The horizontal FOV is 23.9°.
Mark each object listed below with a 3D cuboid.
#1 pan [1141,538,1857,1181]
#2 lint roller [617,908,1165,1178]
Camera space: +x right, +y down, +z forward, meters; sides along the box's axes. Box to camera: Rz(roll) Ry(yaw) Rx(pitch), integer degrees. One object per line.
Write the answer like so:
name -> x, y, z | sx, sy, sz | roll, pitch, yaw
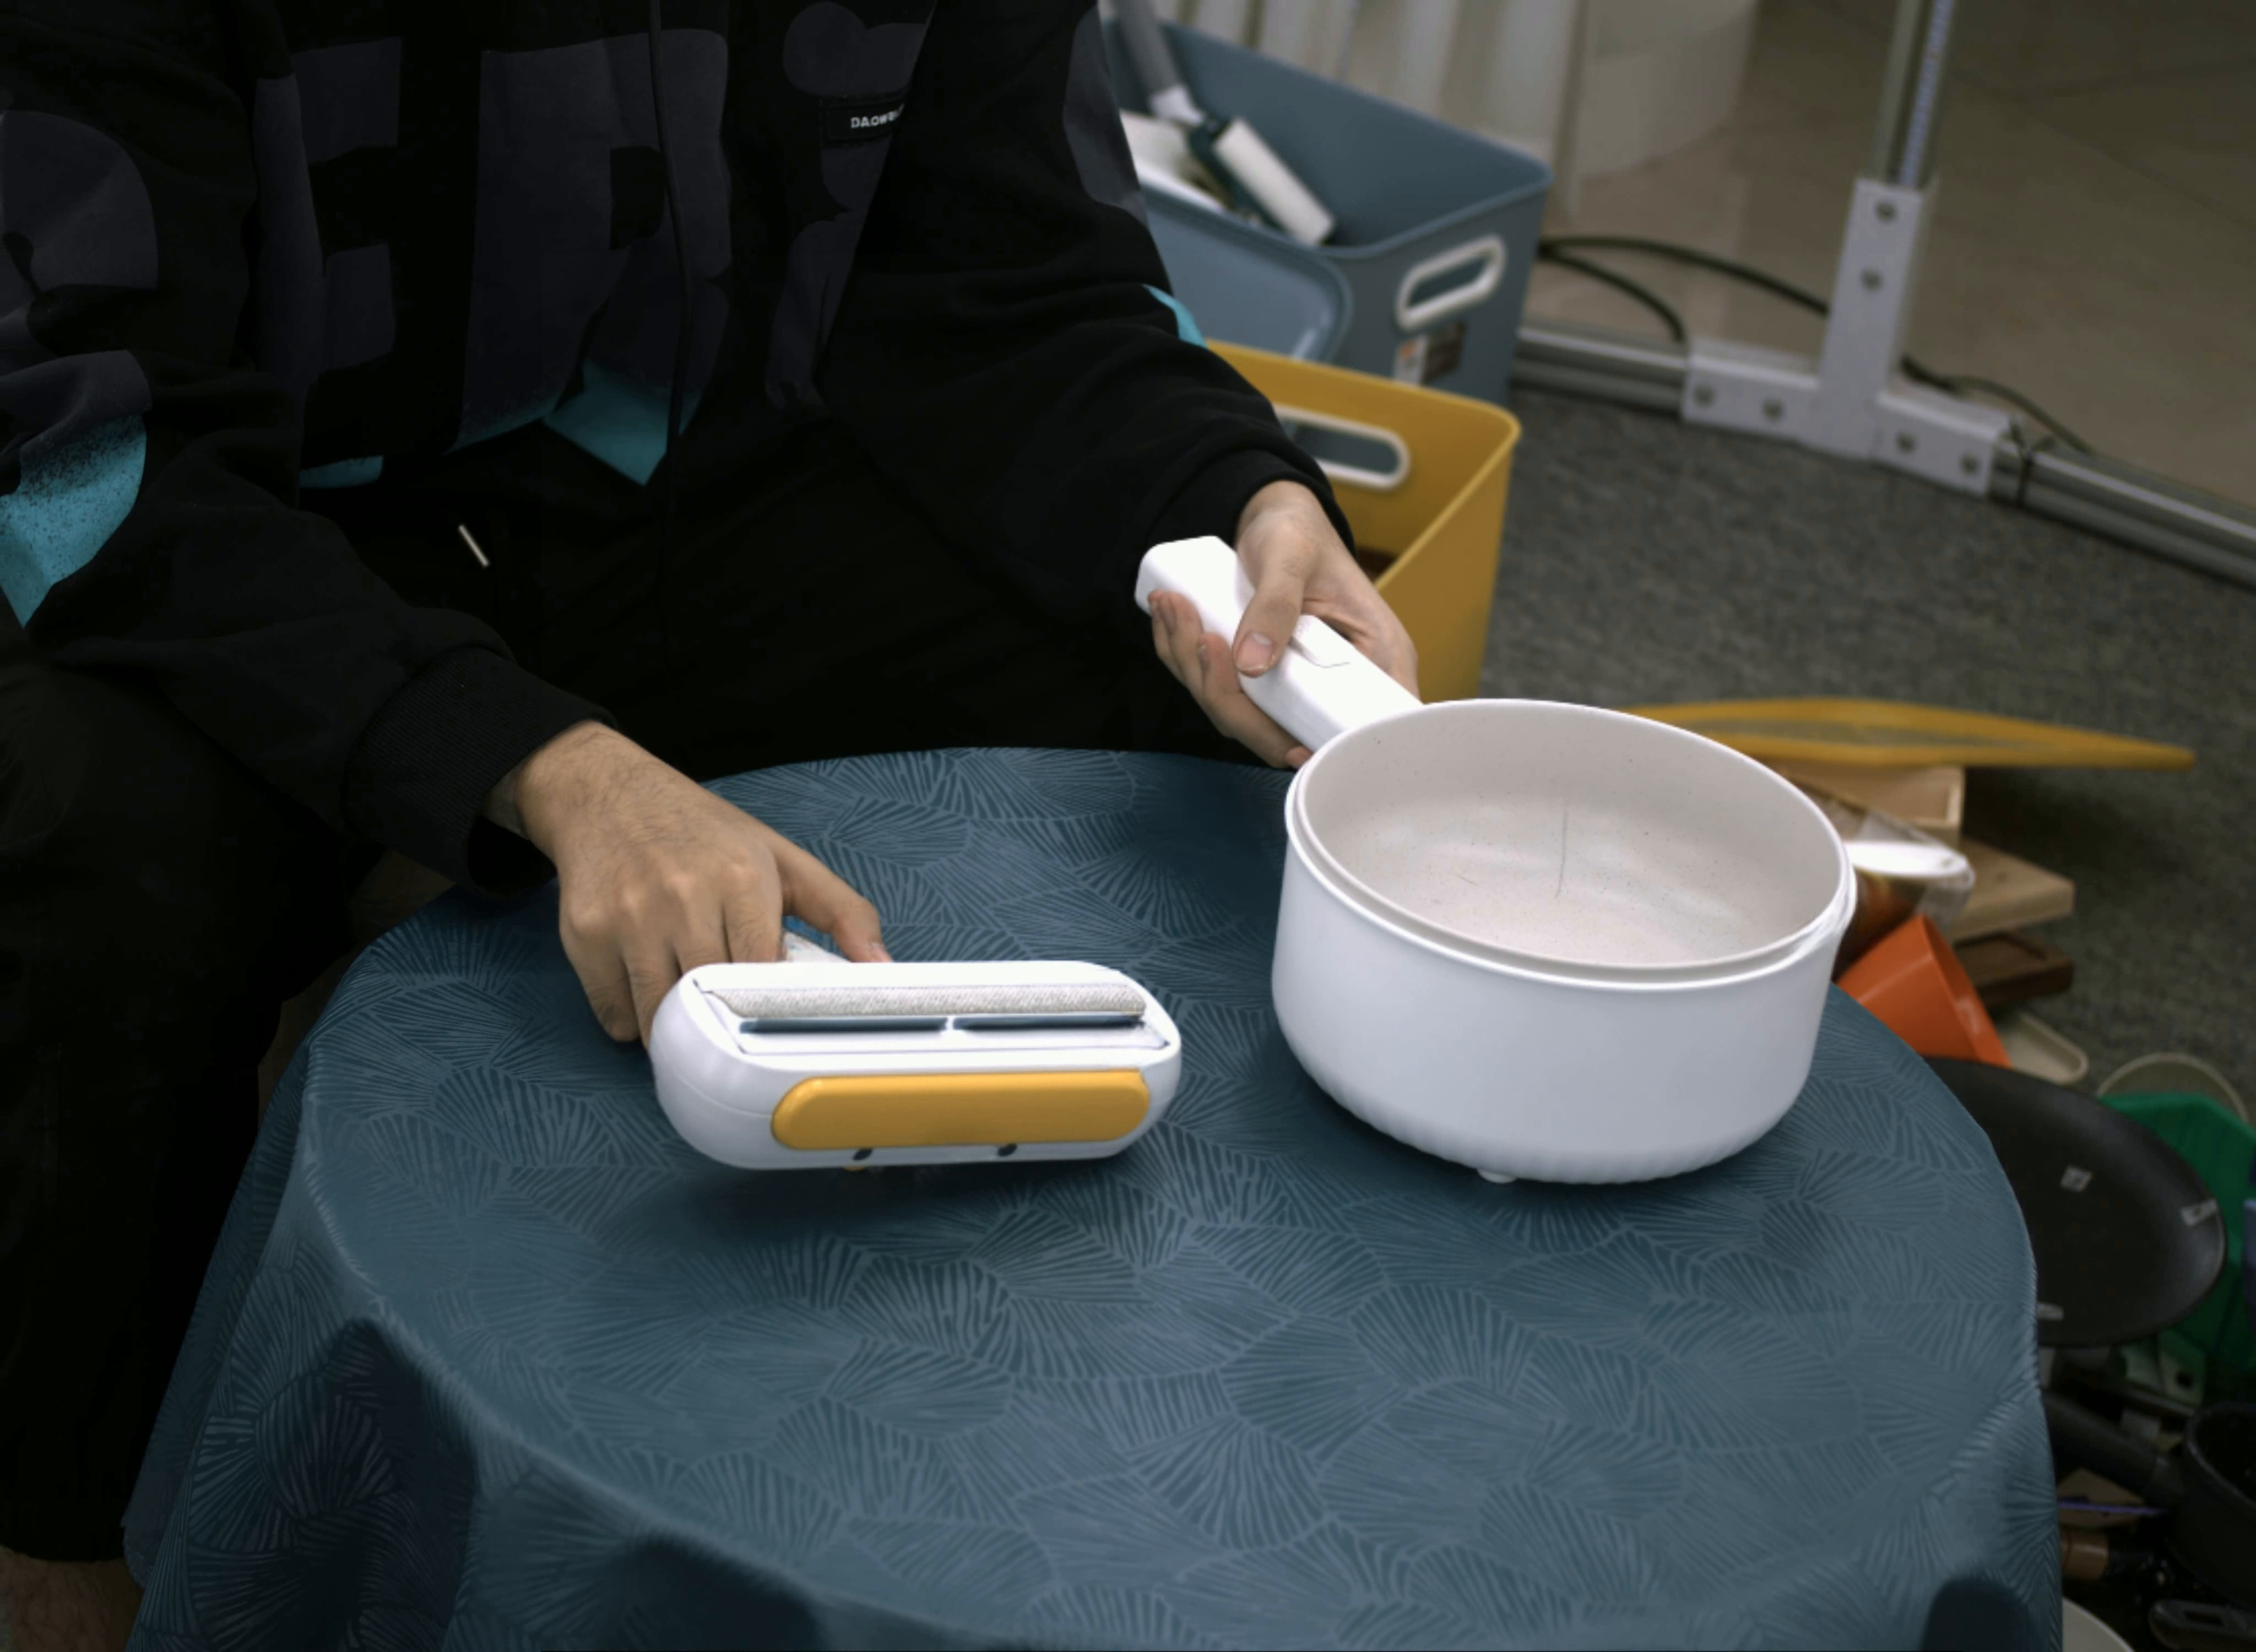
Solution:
pan -> 0.109, 0.010, 1.931 | 0.200, 0.102, 0.358 | -11, 32, -31
lint roller -> -0.104, 0.061, 1.824 | 0.191, 0.074, 0.194 | -2, 26, -28
